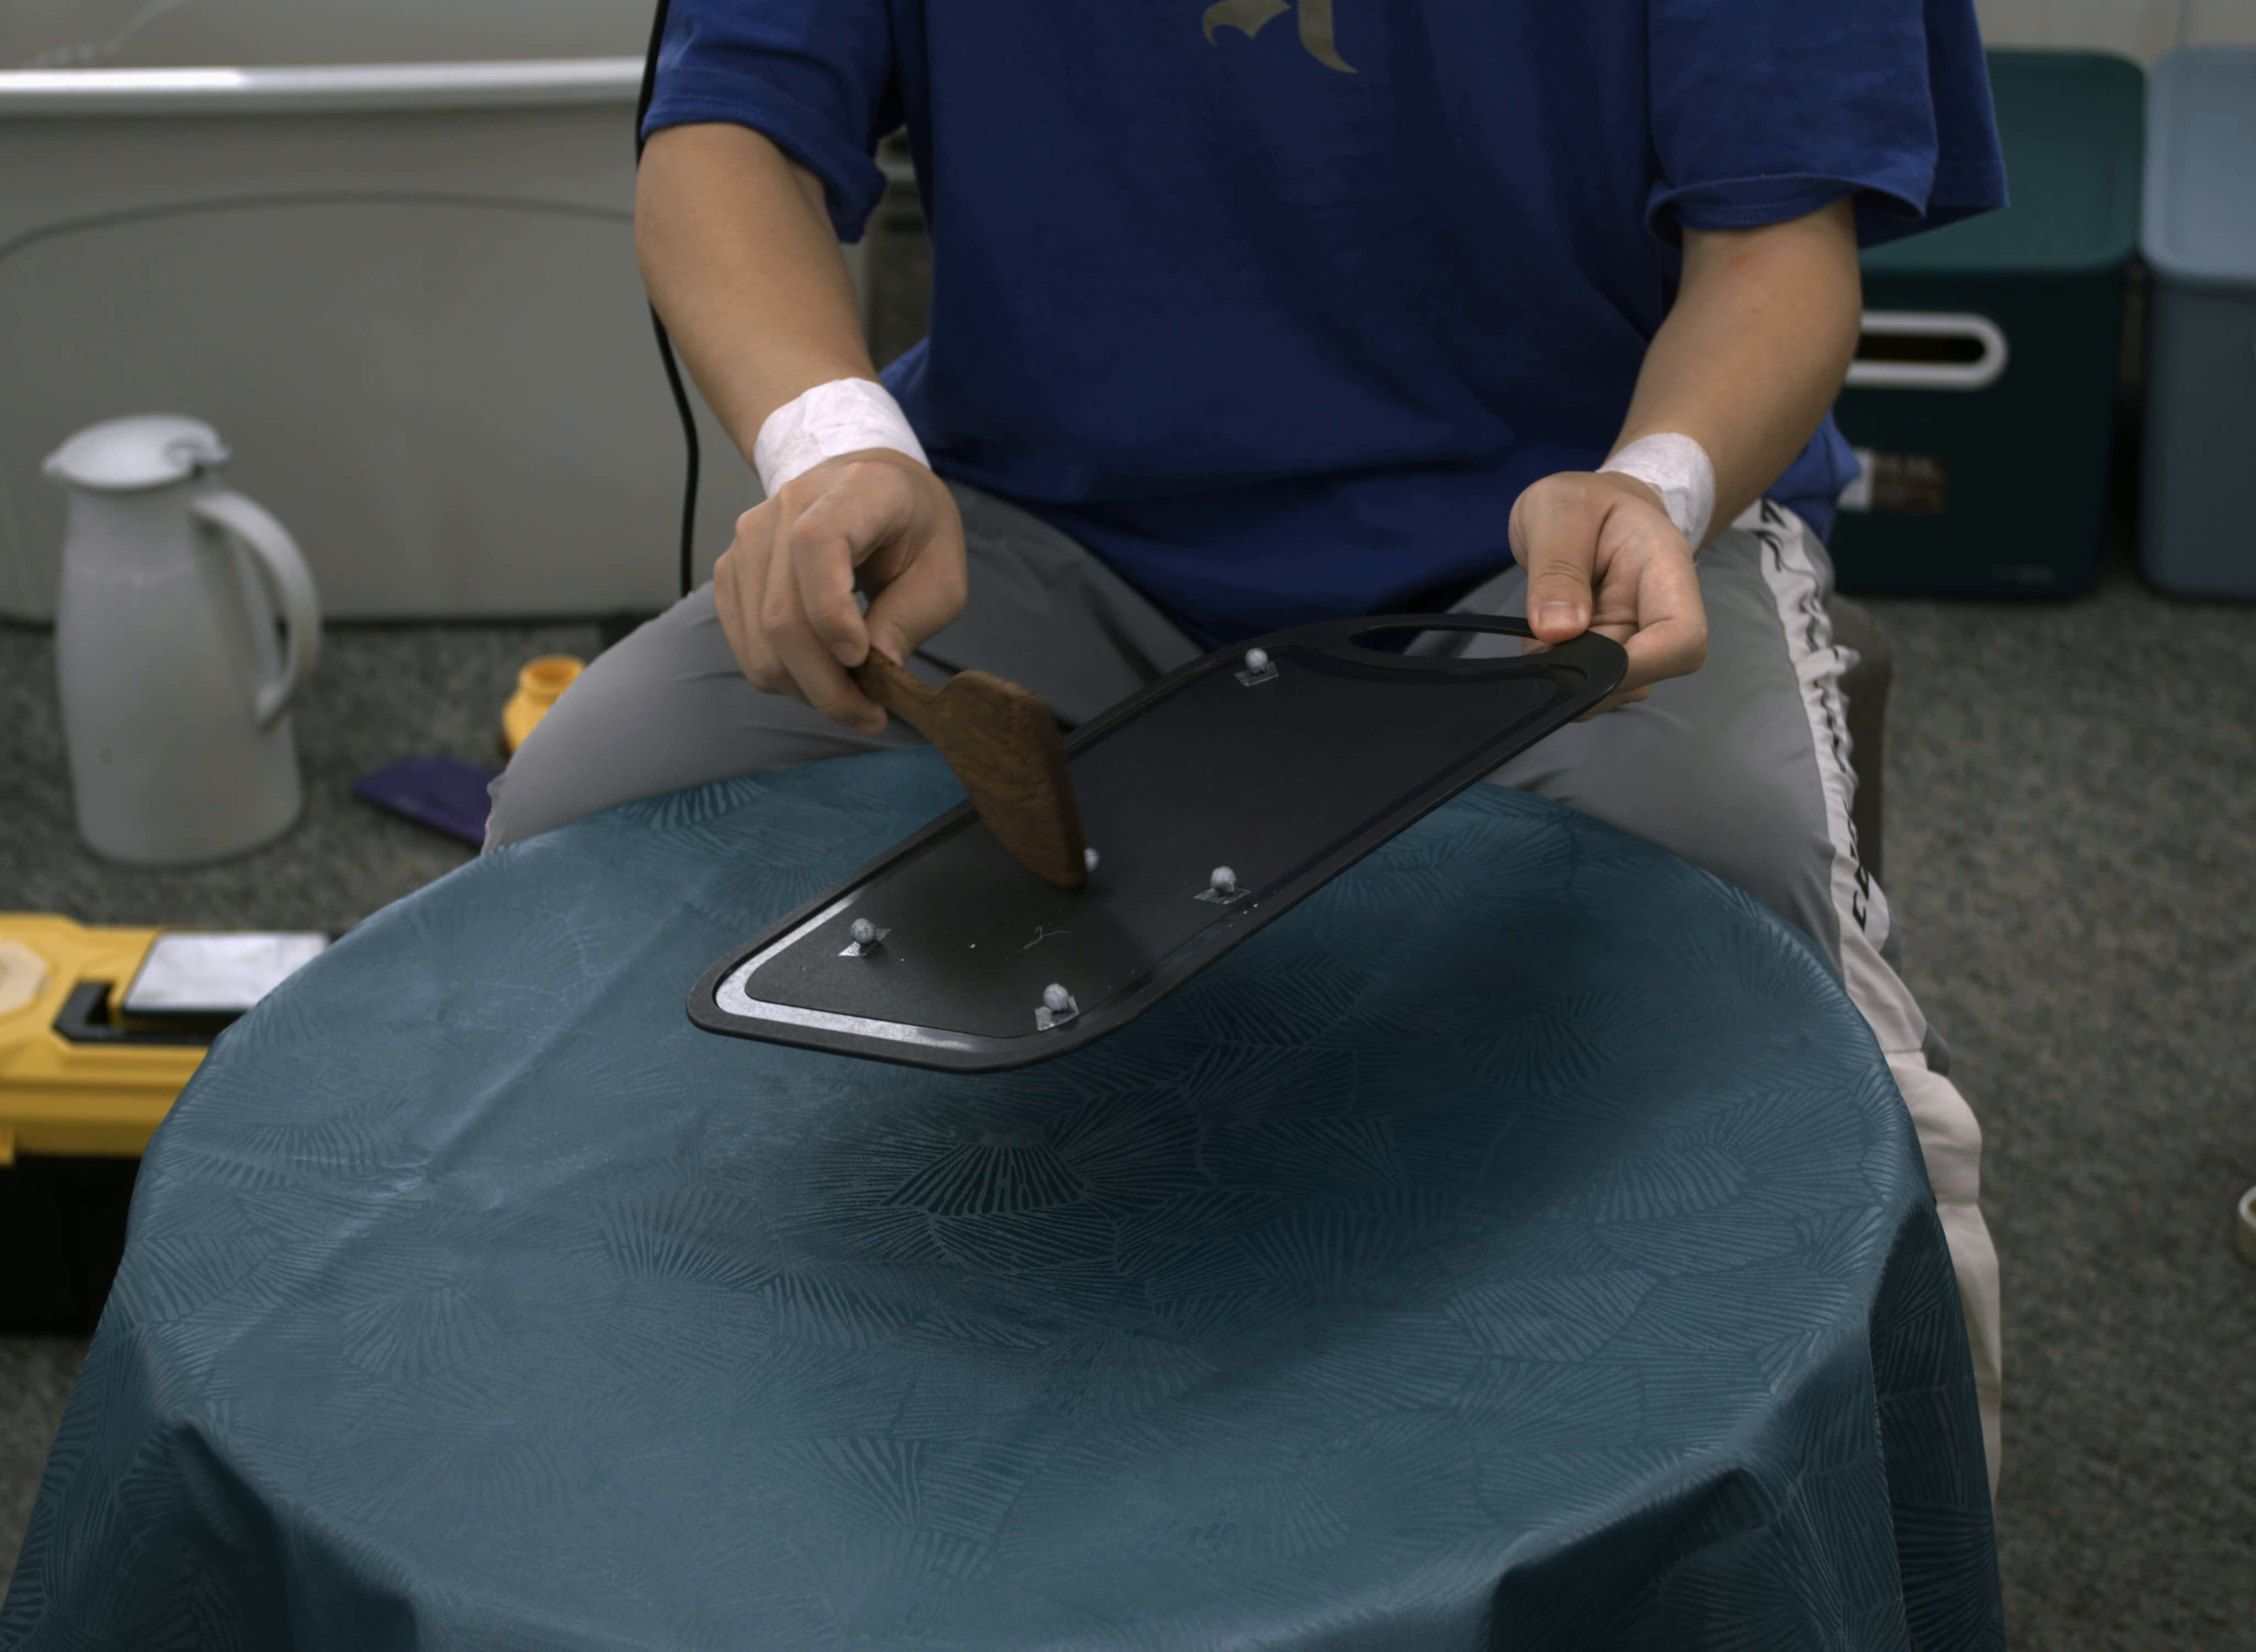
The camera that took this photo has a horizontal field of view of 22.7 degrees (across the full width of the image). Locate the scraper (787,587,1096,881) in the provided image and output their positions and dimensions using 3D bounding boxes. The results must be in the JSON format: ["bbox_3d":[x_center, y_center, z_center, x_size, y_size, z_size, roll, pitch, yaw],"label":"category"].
[{"bbox_3d":[-0.068,-0.042,1.899,0.011,0.075,0.212,-23,27,-21],"label":"scraper"}]

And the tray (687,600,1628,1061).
[{"bbox_3d":[0.016,-0.006,1.874,0.330,0.010,0.209,-33,24,-34],"label":"tray"}]
